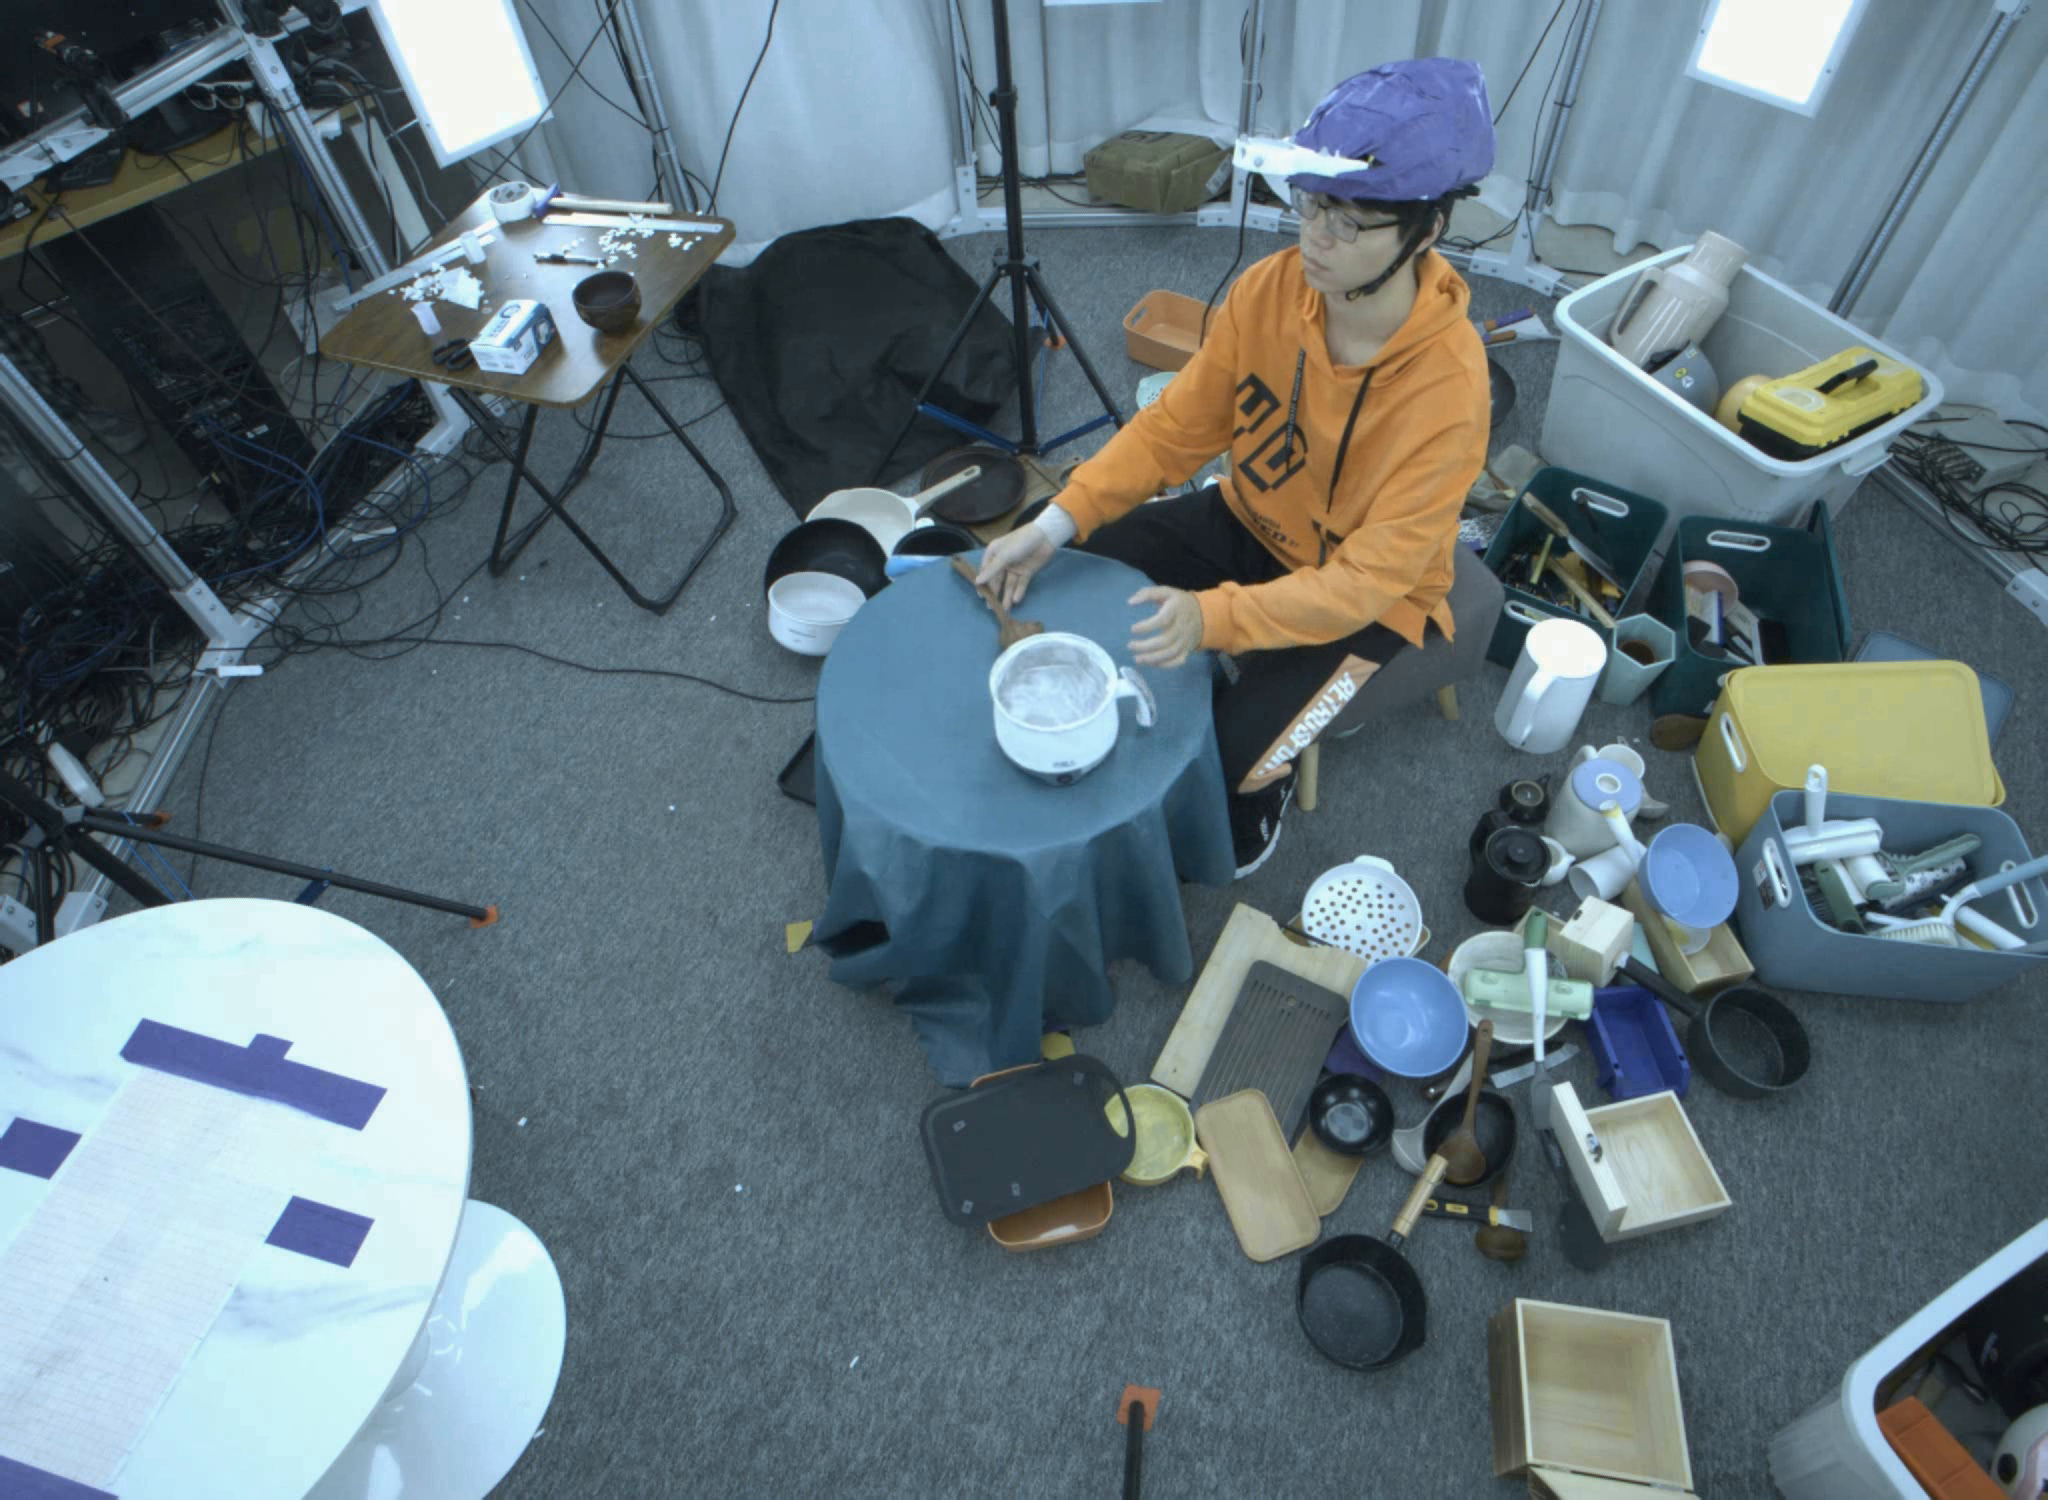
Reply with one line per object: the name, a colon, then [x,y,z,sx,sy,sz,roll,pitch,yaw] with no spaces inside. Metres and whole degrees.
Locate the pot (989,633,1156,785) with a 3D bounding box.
pot: [0.071,-0.062,1.743,0.234,0.138,0.176,-9,55,-3]

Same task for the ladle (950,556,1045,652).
ladle: [-0.052,-0.241,1.920,0.077,0.065,0.255,-23,57,-19]
